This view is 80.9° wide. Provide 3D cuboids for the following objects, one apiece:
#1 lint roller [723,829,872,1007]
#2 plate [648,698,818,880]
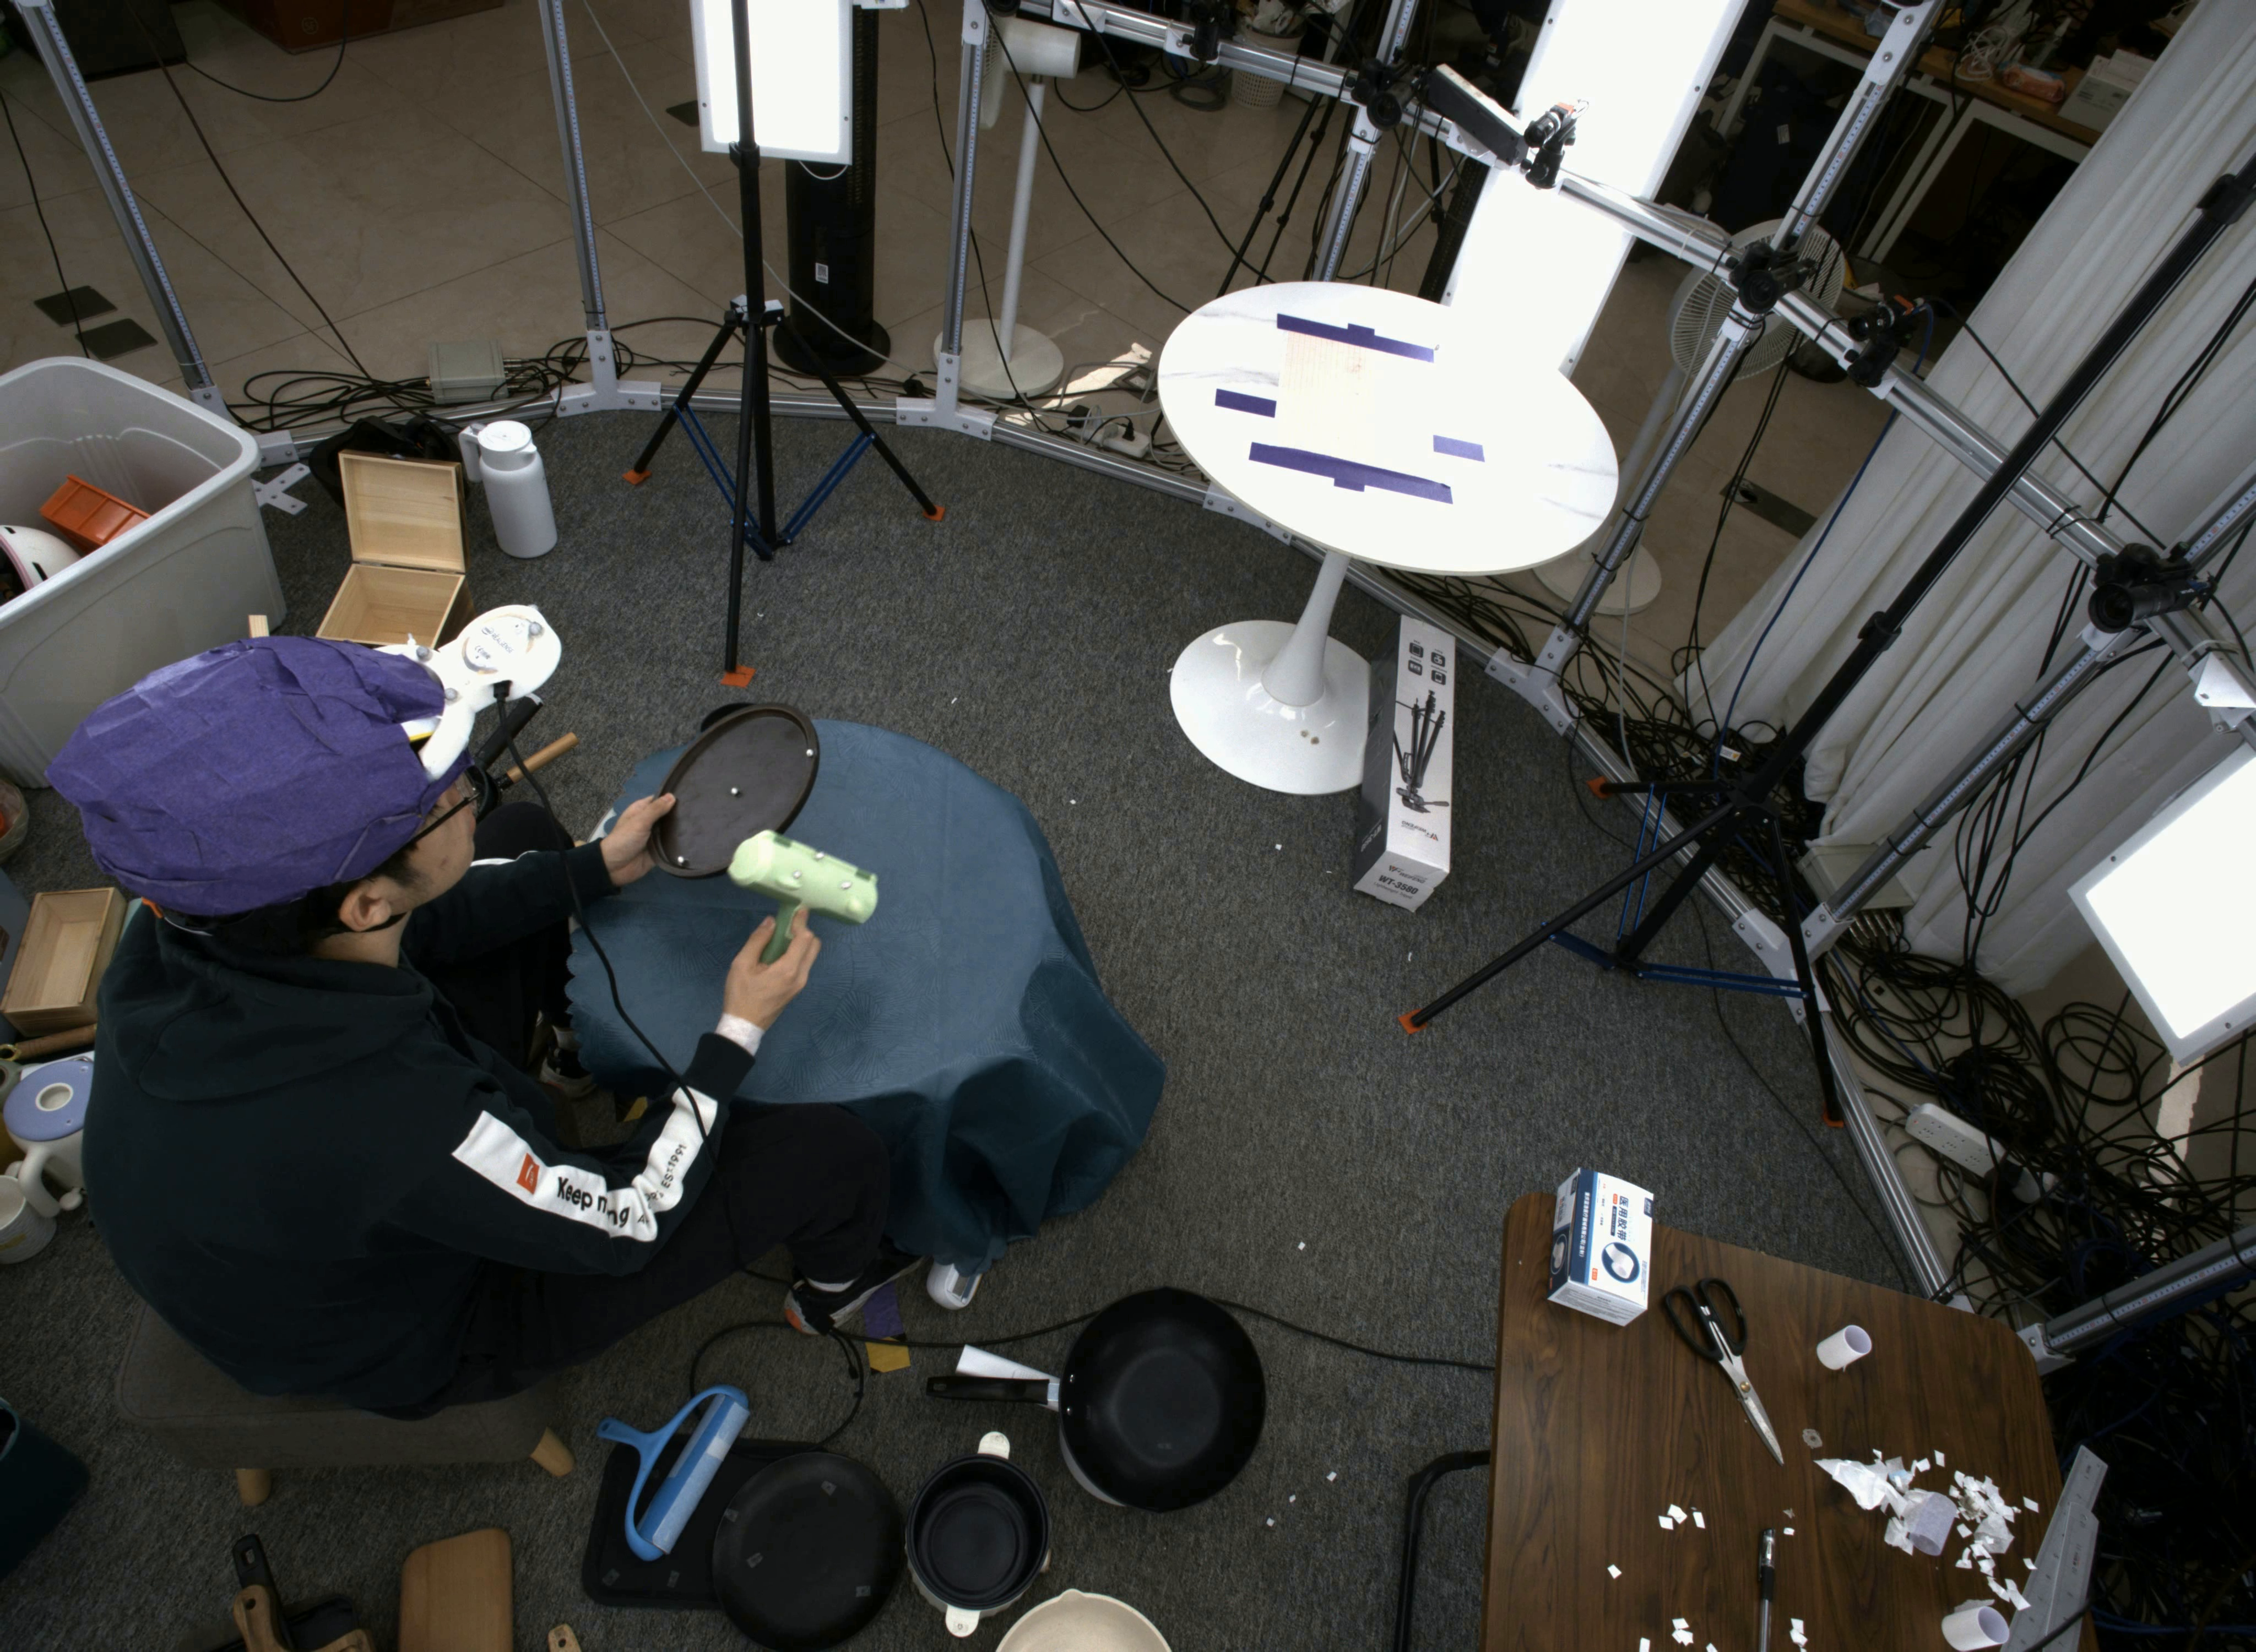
[{"bbox_3d":[-0.378,0.117,1.457,0.079,0.205,0.184,10,78,32],"label":"lint roller"},{"bbox_3d":[-0.477,-0.047,1.558,0.249,0.030,0.250,-13,54,19],"label":"plate"}]
